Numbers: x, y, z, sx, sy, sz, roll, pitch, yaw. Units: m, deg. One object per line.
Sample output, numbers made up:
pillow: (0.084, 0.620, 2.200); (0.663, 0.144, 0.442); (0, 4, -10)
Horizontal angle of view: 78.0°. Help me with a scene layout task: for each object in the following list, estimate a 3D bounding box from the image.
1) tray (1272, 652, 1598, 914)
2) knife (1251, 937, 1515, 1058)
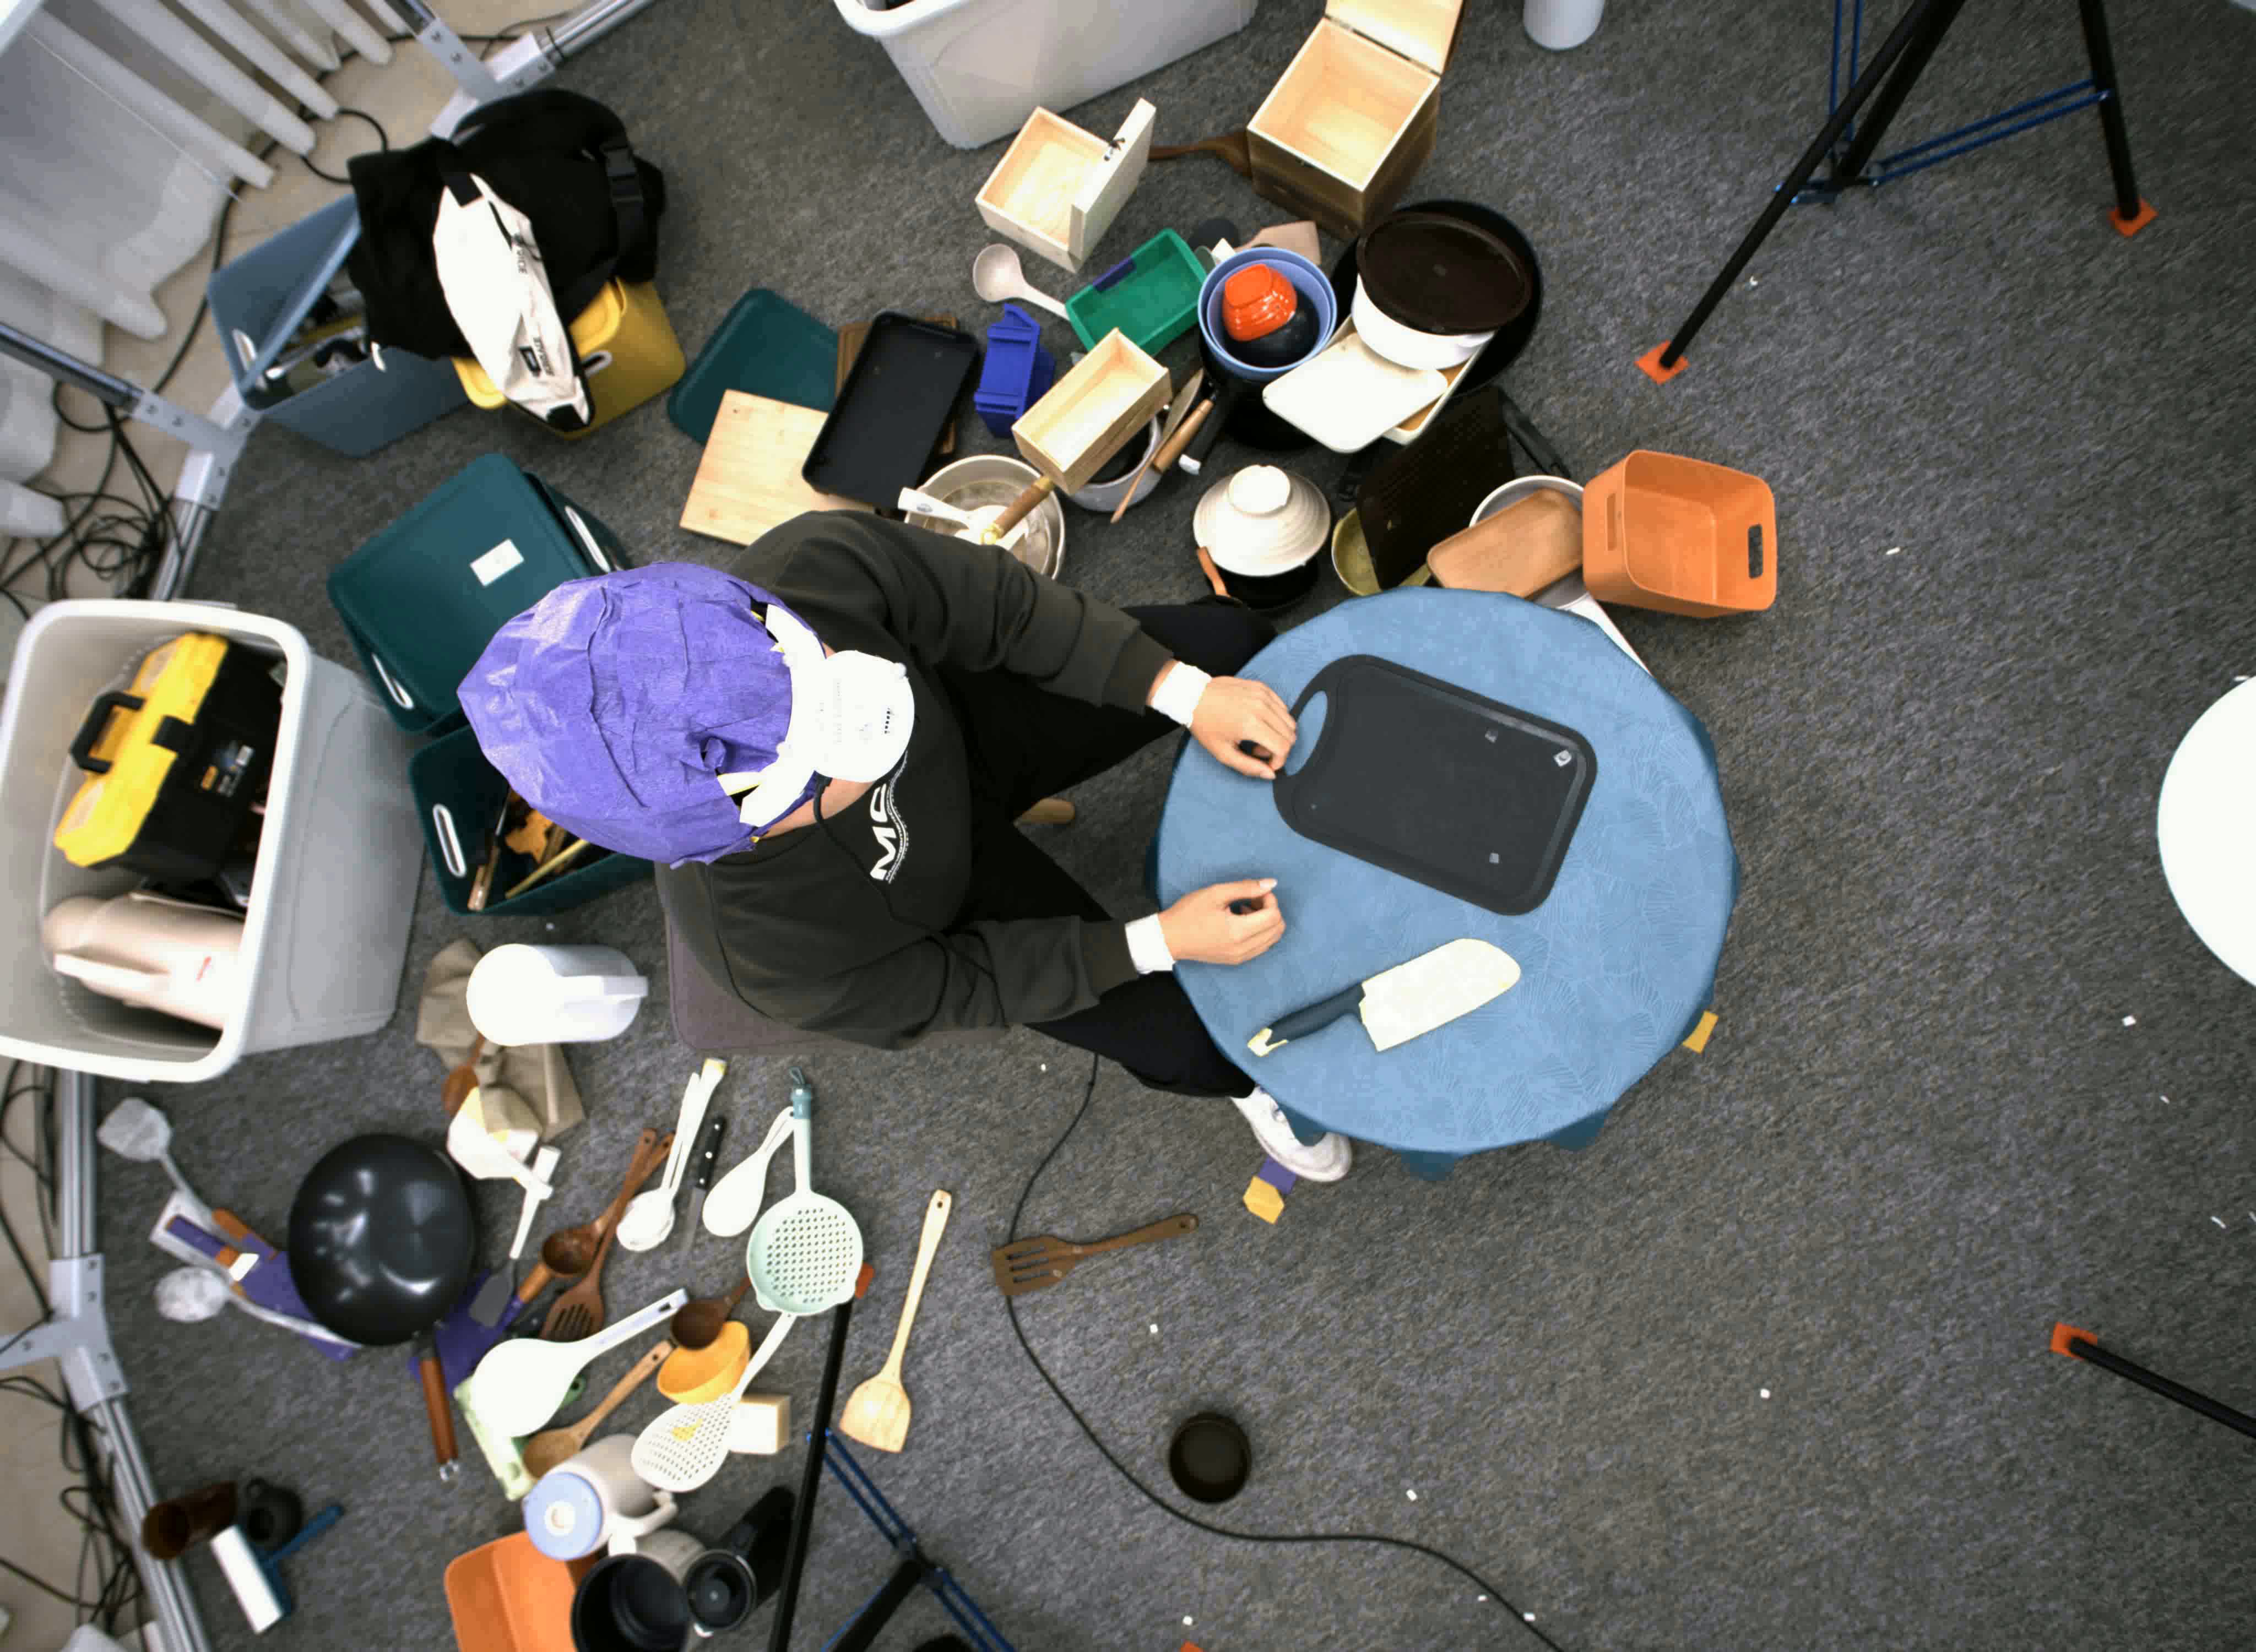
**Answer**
tray: (0.315, -0.052, 1.455); (0.325, 0.010, 0.211); (22, 91, 11)
knife: (0.268, 0.190, 1.447); (0.291, 0.027, 0.080); (-23, 81, 8)
